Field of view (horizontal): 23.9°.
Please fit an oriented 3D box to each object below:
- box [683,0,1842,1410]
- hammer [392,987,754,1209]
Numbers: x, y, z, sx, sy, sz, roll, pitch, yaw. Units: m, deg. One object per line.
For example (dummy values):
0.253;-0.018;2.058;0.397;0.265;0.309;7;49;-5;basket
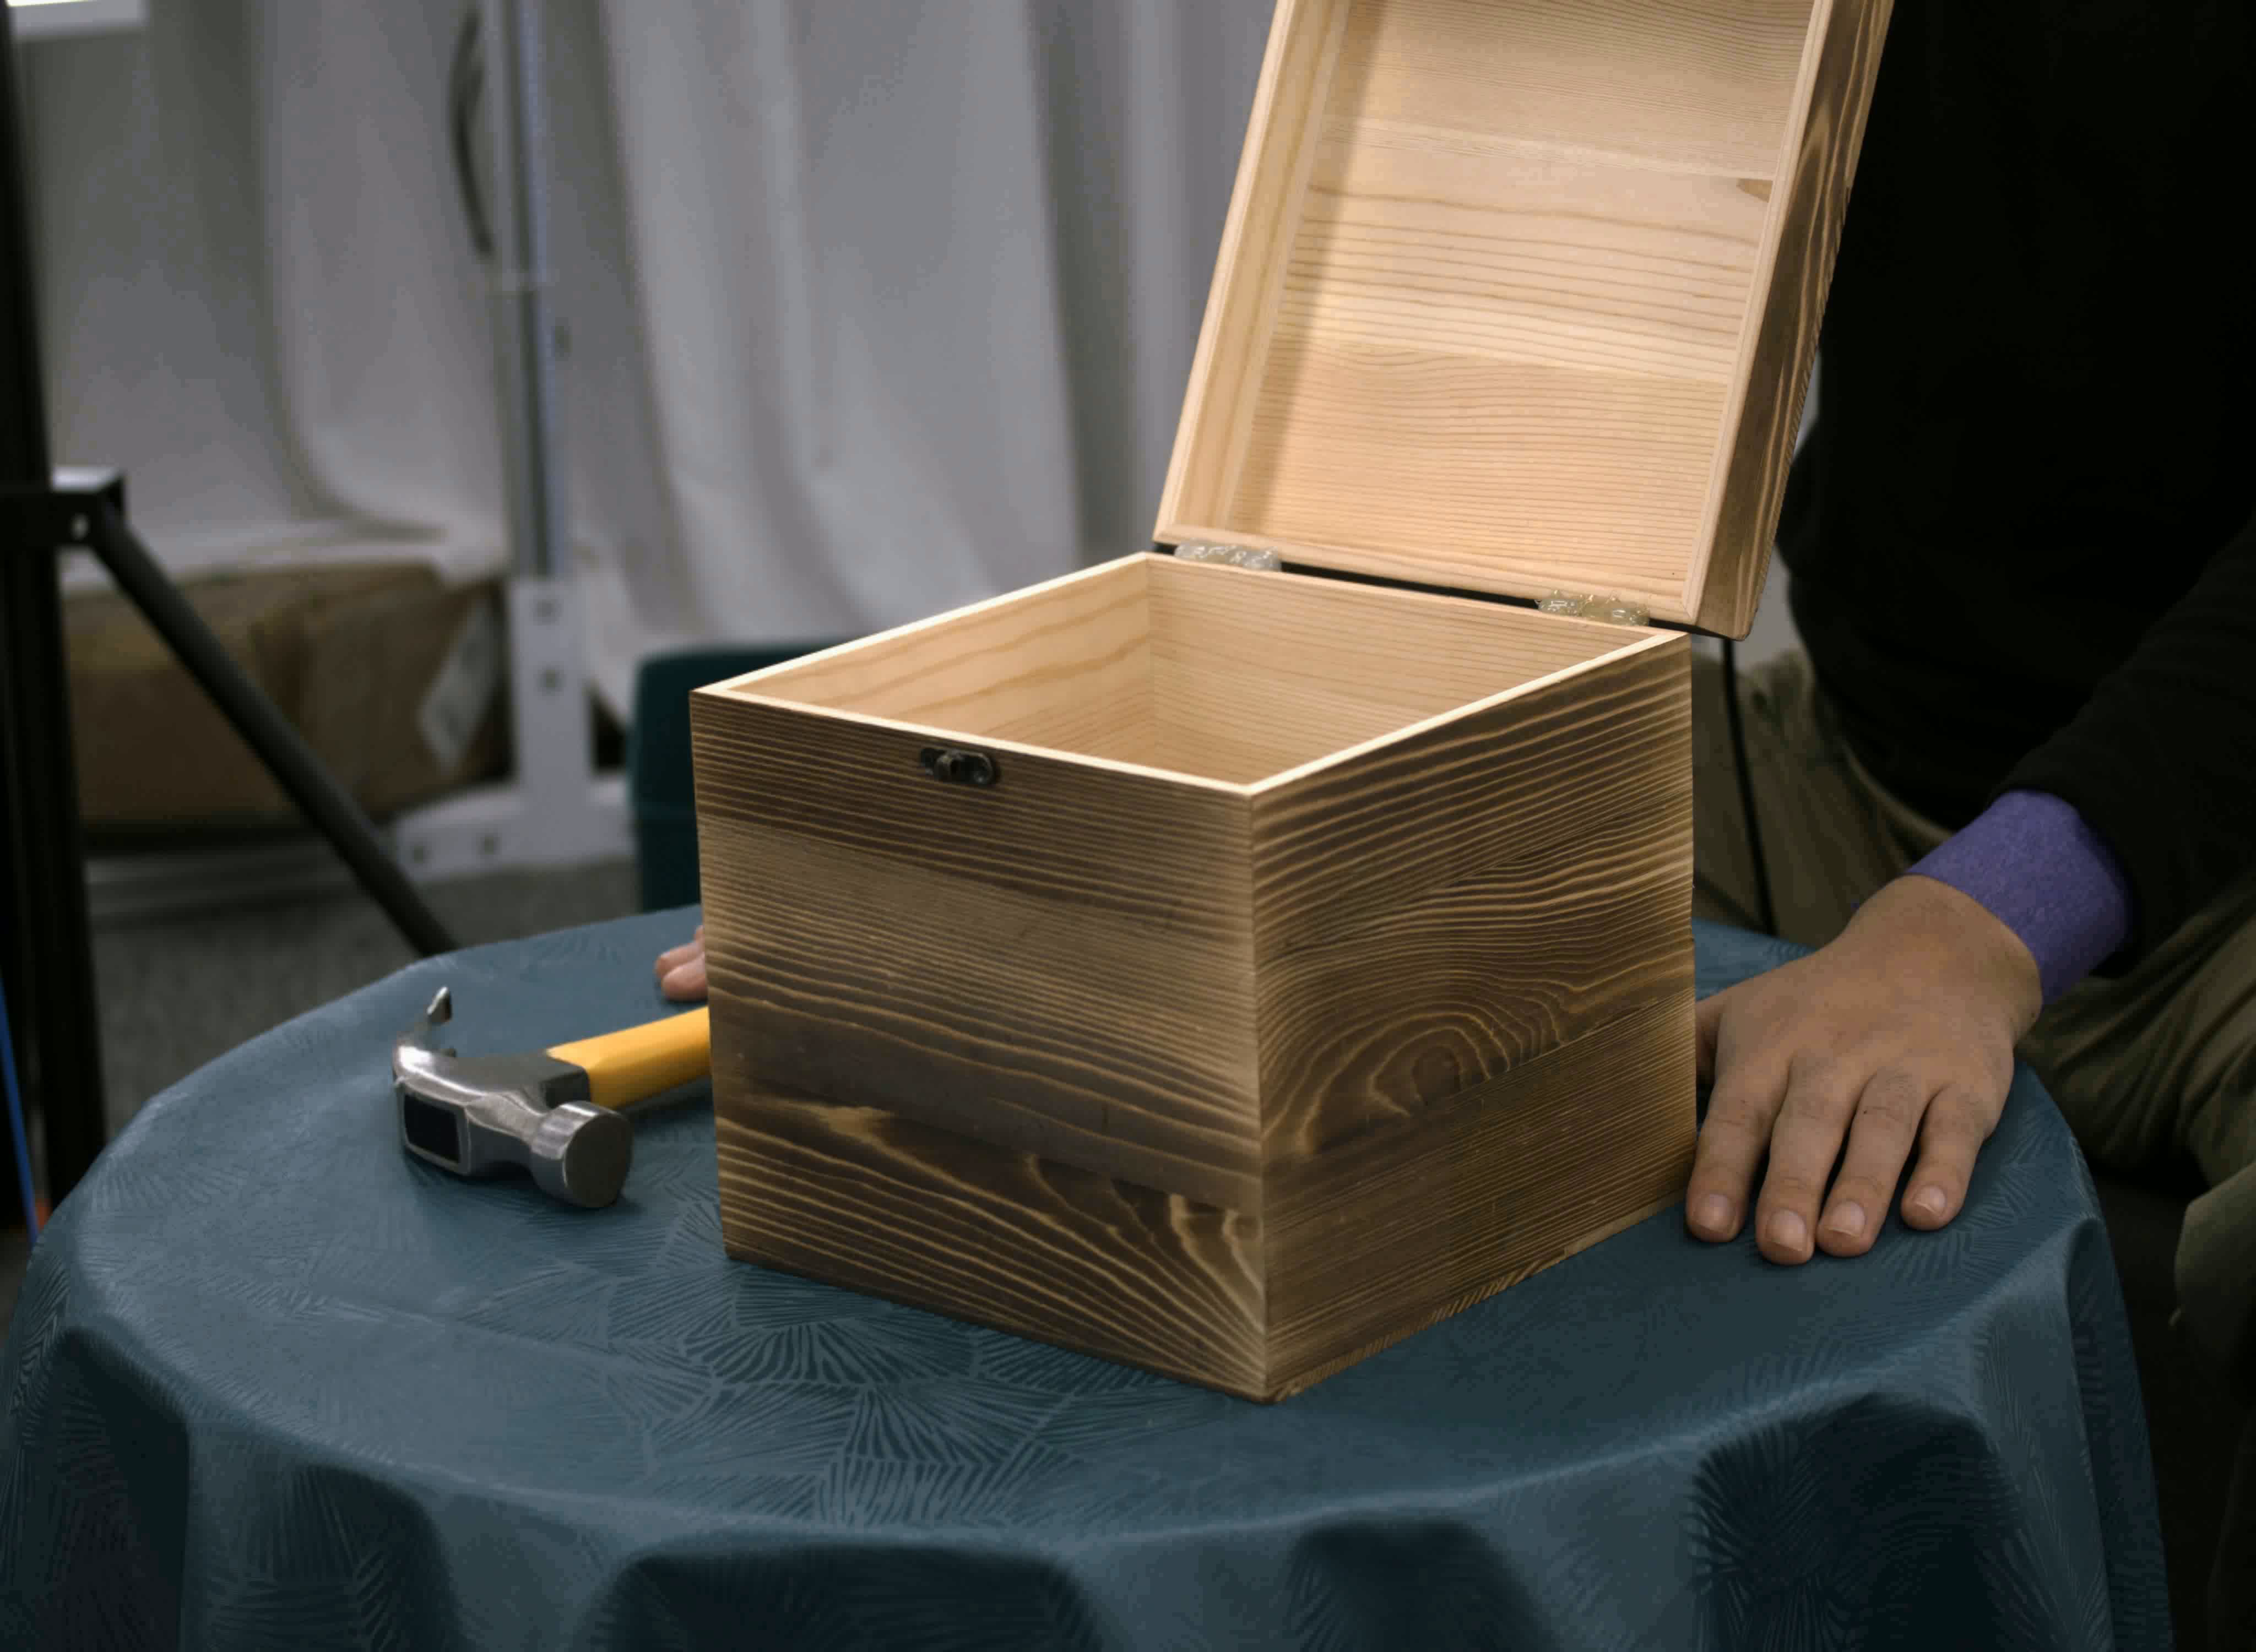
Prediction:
0.049;-0.070;1.515;0.213;0.375;0.315;10;19;40;box
-0.087;0.052;1.703;0.331;0.032;0.134;-17;21;-39;hammer
